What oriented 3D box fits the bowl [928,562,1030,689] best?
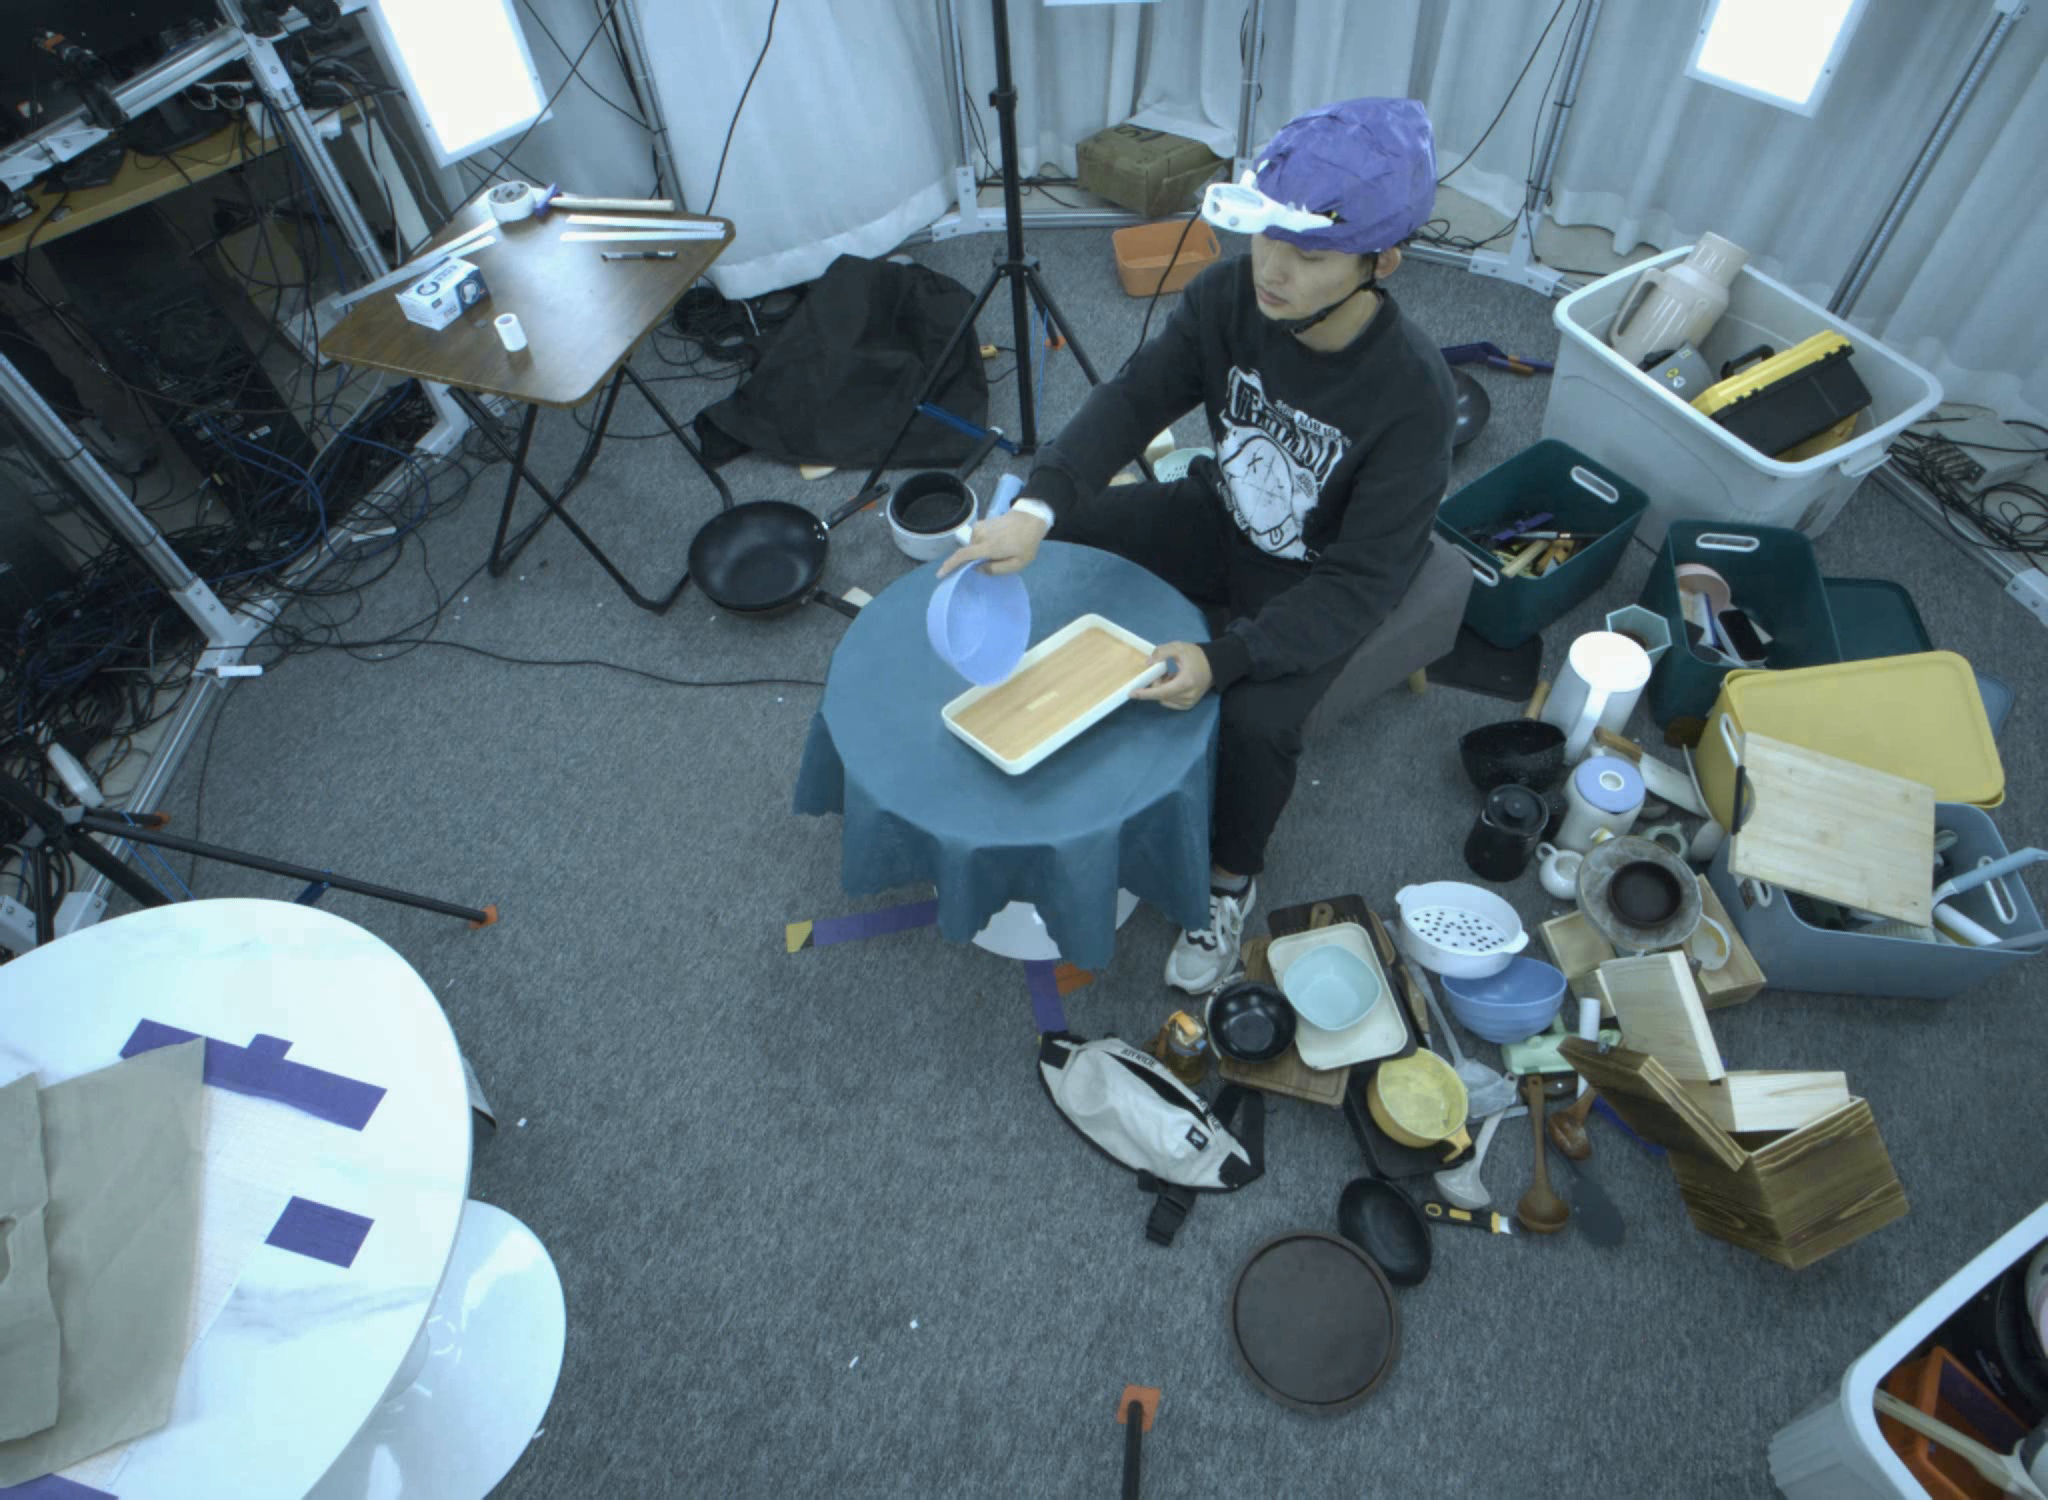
[{"bbox_3d":[-0.071,-0.175,1.708,0.069,0.179,0.176,9,53,37],"label":"bowl"}]

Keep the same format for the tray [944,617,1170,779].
[{"bbox_3d":[0.048,-0.083,1.808,0.302,0.028,0.187,-35,44,-20],"label":"tray"}]
